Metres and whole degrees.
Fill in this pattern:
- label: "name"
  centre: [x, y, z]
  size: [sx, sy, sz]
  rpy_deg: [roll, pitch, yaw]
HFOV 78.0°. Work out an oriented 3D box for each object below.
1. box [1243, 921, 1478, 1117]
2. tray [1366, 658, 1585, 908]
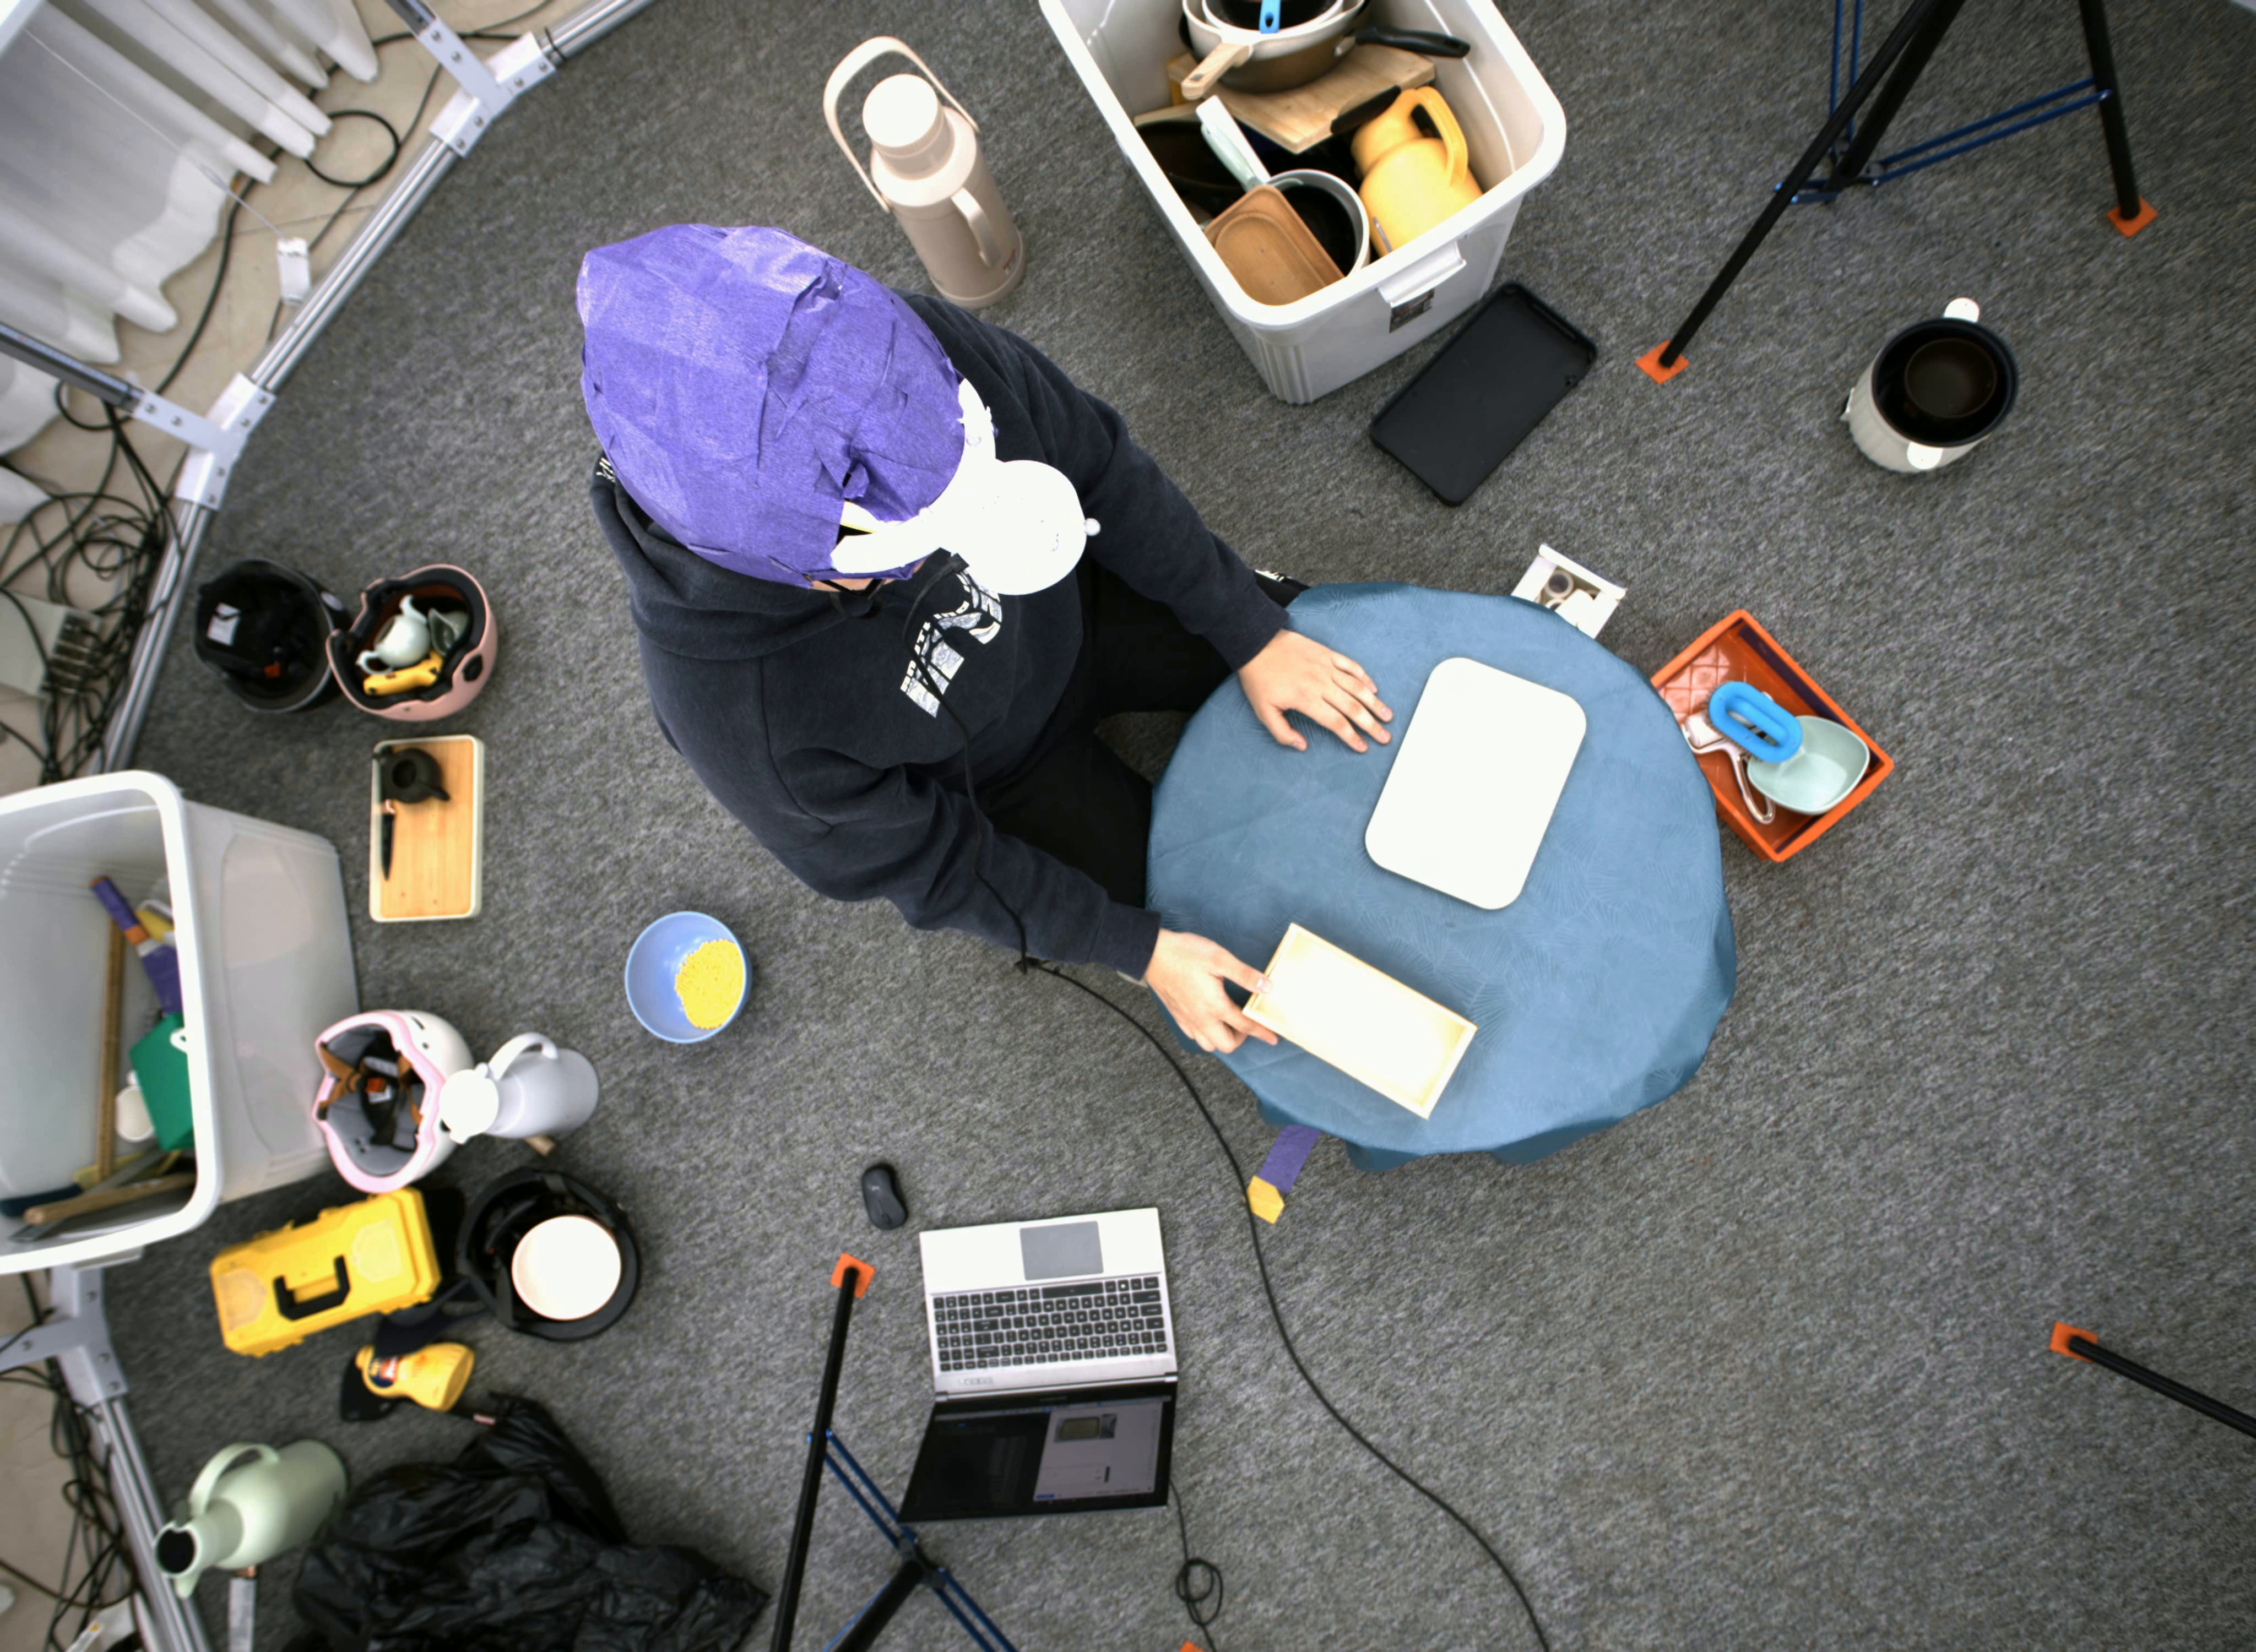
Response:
- label: "box"
  centre: [0.237, 0.195, 1.419]
  size: [0.211, 0.080, 0.107]
  rpy_deg: [29, 91, 11]
- label: "tray"
  centre: [0.363, -0.048, 1.441]
  size: [0.171, 0.017, 0.239]
  rpy_deg: [22, 91, 12]
